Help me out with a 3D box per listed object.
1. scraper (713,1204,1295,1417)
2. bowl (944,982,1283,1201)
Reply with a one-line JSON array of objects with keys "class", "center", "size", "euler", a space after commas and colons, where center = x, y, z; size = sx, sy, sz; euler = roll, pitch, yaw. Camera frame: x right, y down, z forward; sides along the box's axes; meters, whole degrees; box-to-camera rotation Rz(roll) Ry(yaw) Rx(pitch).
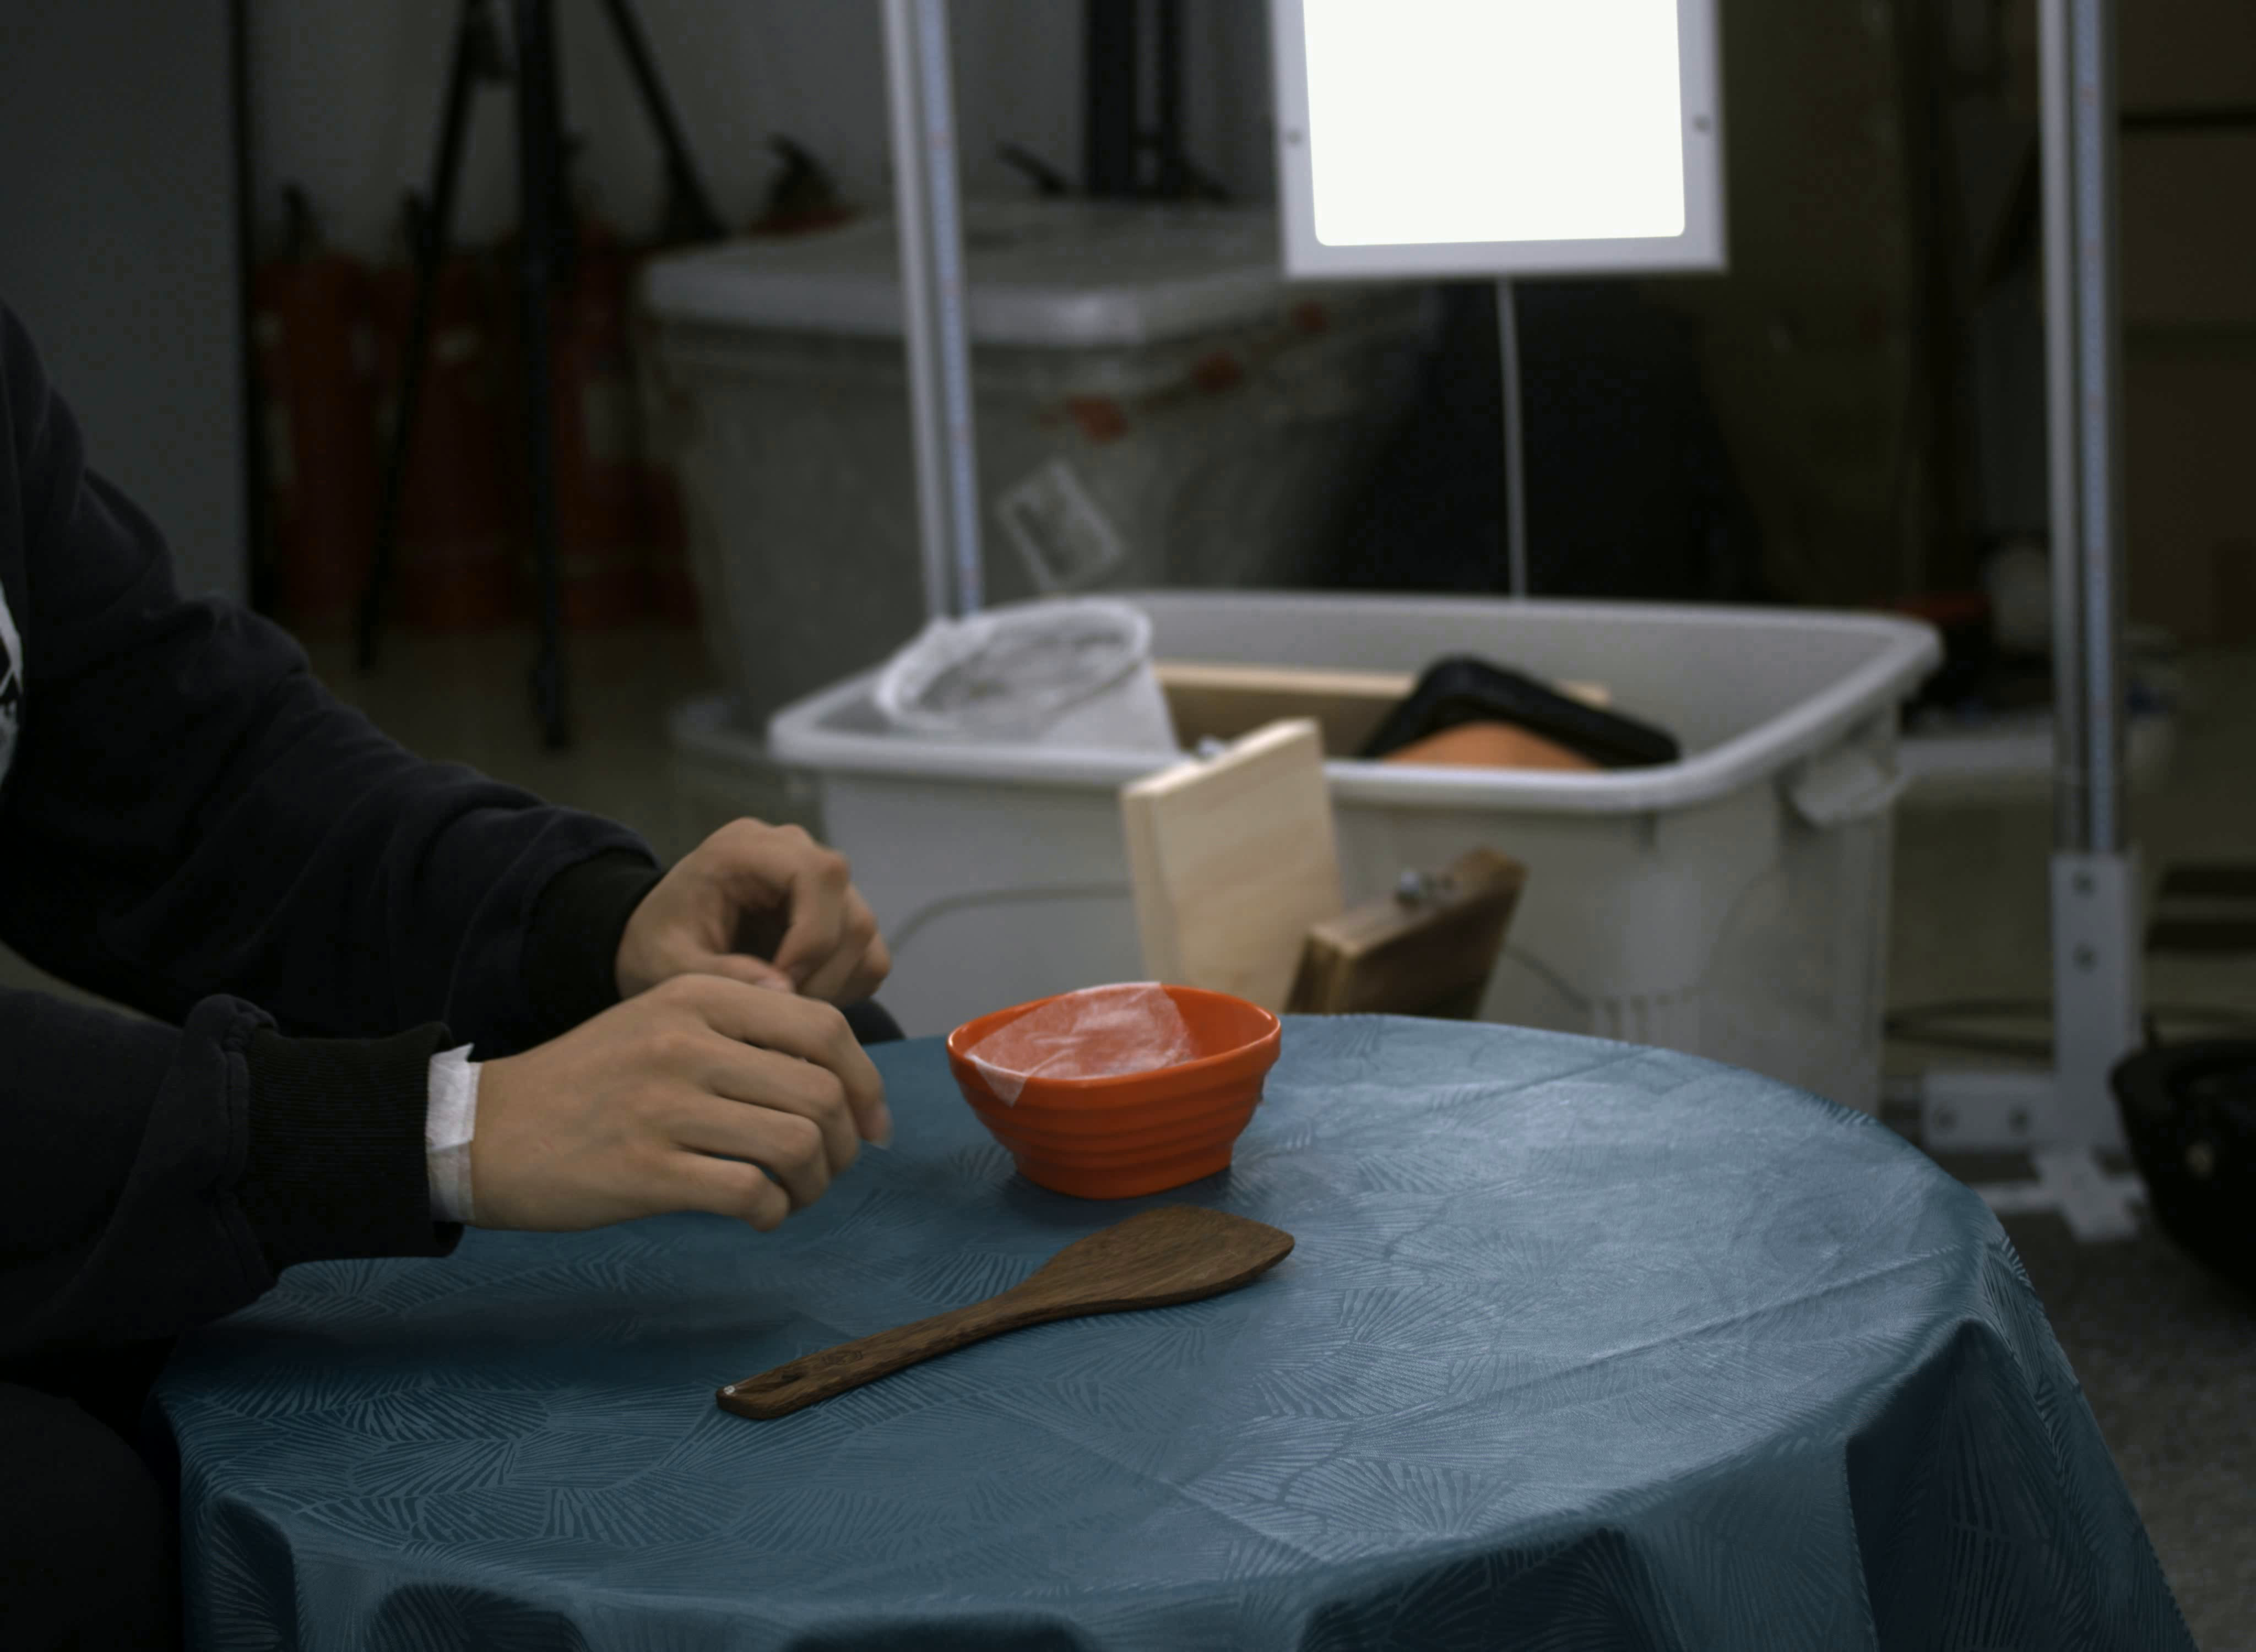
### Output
[{"class": "scraper", "center": [-0.043, 0.157, 1.770], "size": [0.206, 0.011, 0.077], "euler": [-16, 17, -35]}, {"class": "bowl", "center": [-0.004, 0.095, 1.922], "size": [0.118, 0.051, 0.119], "euler": [-3, 15, -1]}]
